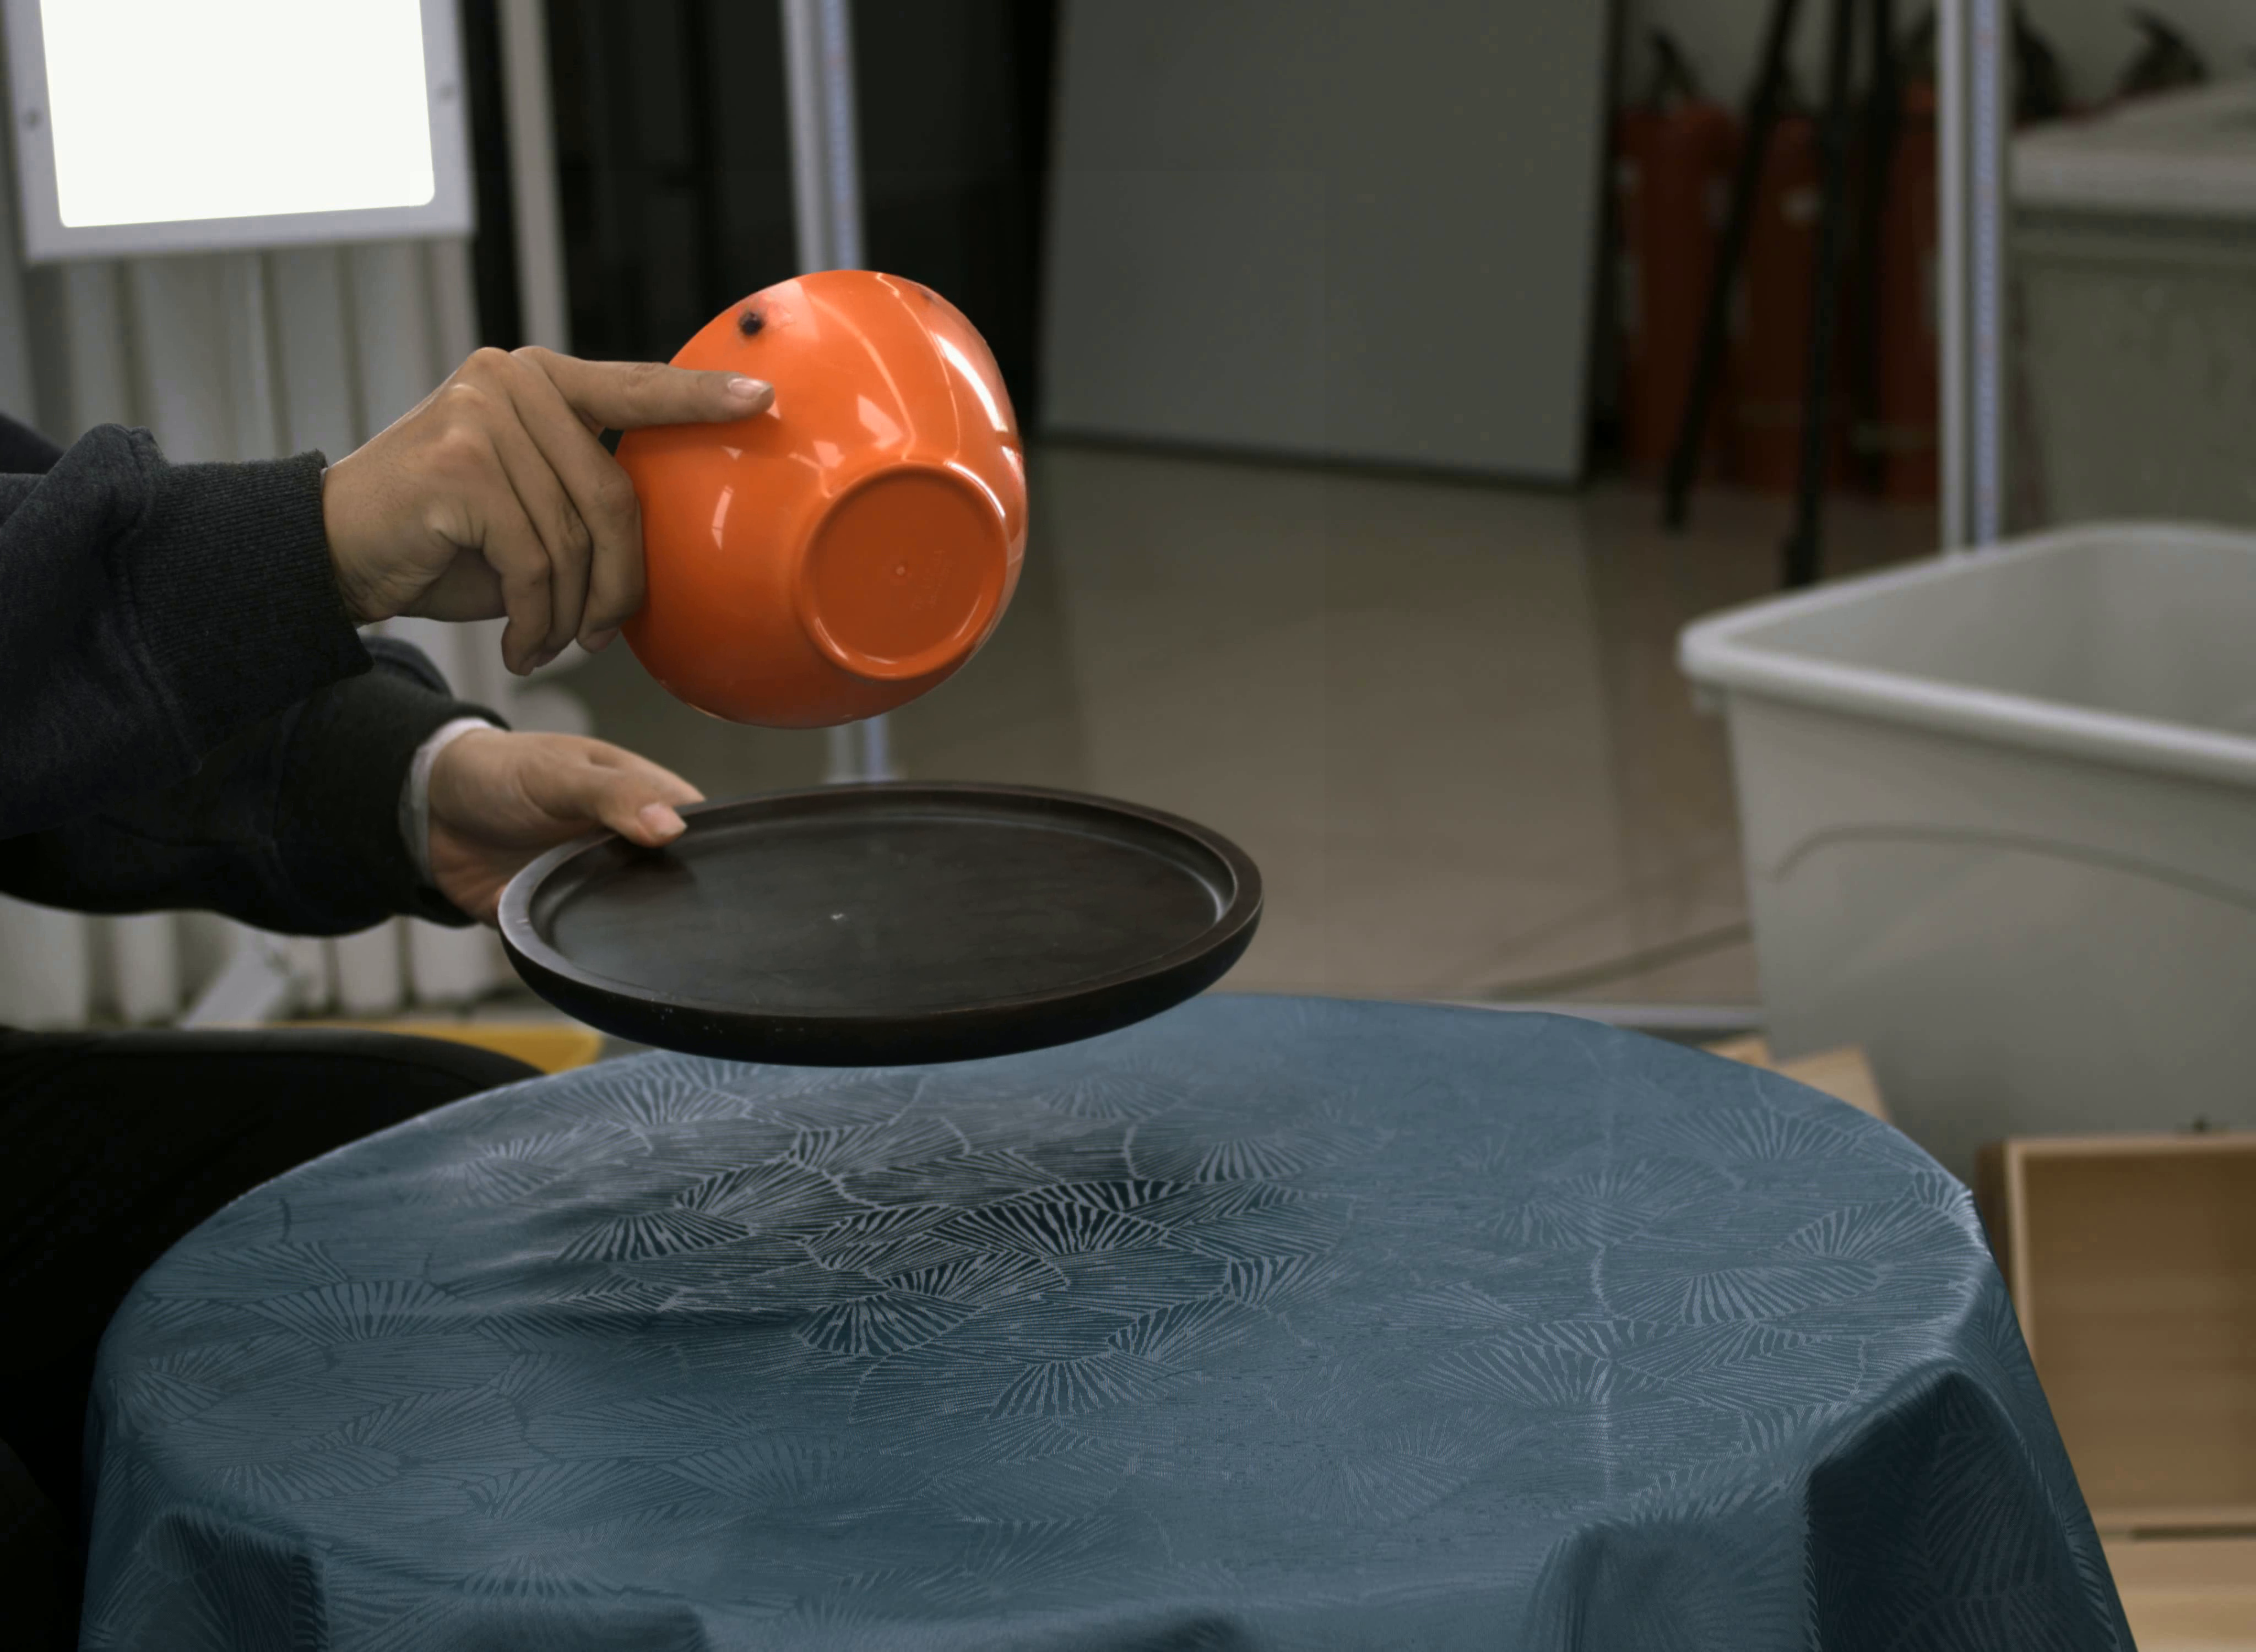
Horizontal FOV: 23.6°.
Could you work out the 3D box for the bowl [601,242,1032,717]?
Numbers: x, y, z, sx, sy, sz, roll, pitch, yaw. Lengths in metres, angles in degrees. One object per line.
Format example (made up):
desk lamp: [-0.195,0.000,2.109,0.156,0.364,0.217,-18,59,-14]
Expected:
bowl: [-0.077,-0.091,1.603,0.145,0.149,0.106,-9,22,-23]

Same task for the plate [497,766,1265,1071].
plate: [-0.080,0.031,1.760,0.251,0.029,0.255,-2,18,0]
